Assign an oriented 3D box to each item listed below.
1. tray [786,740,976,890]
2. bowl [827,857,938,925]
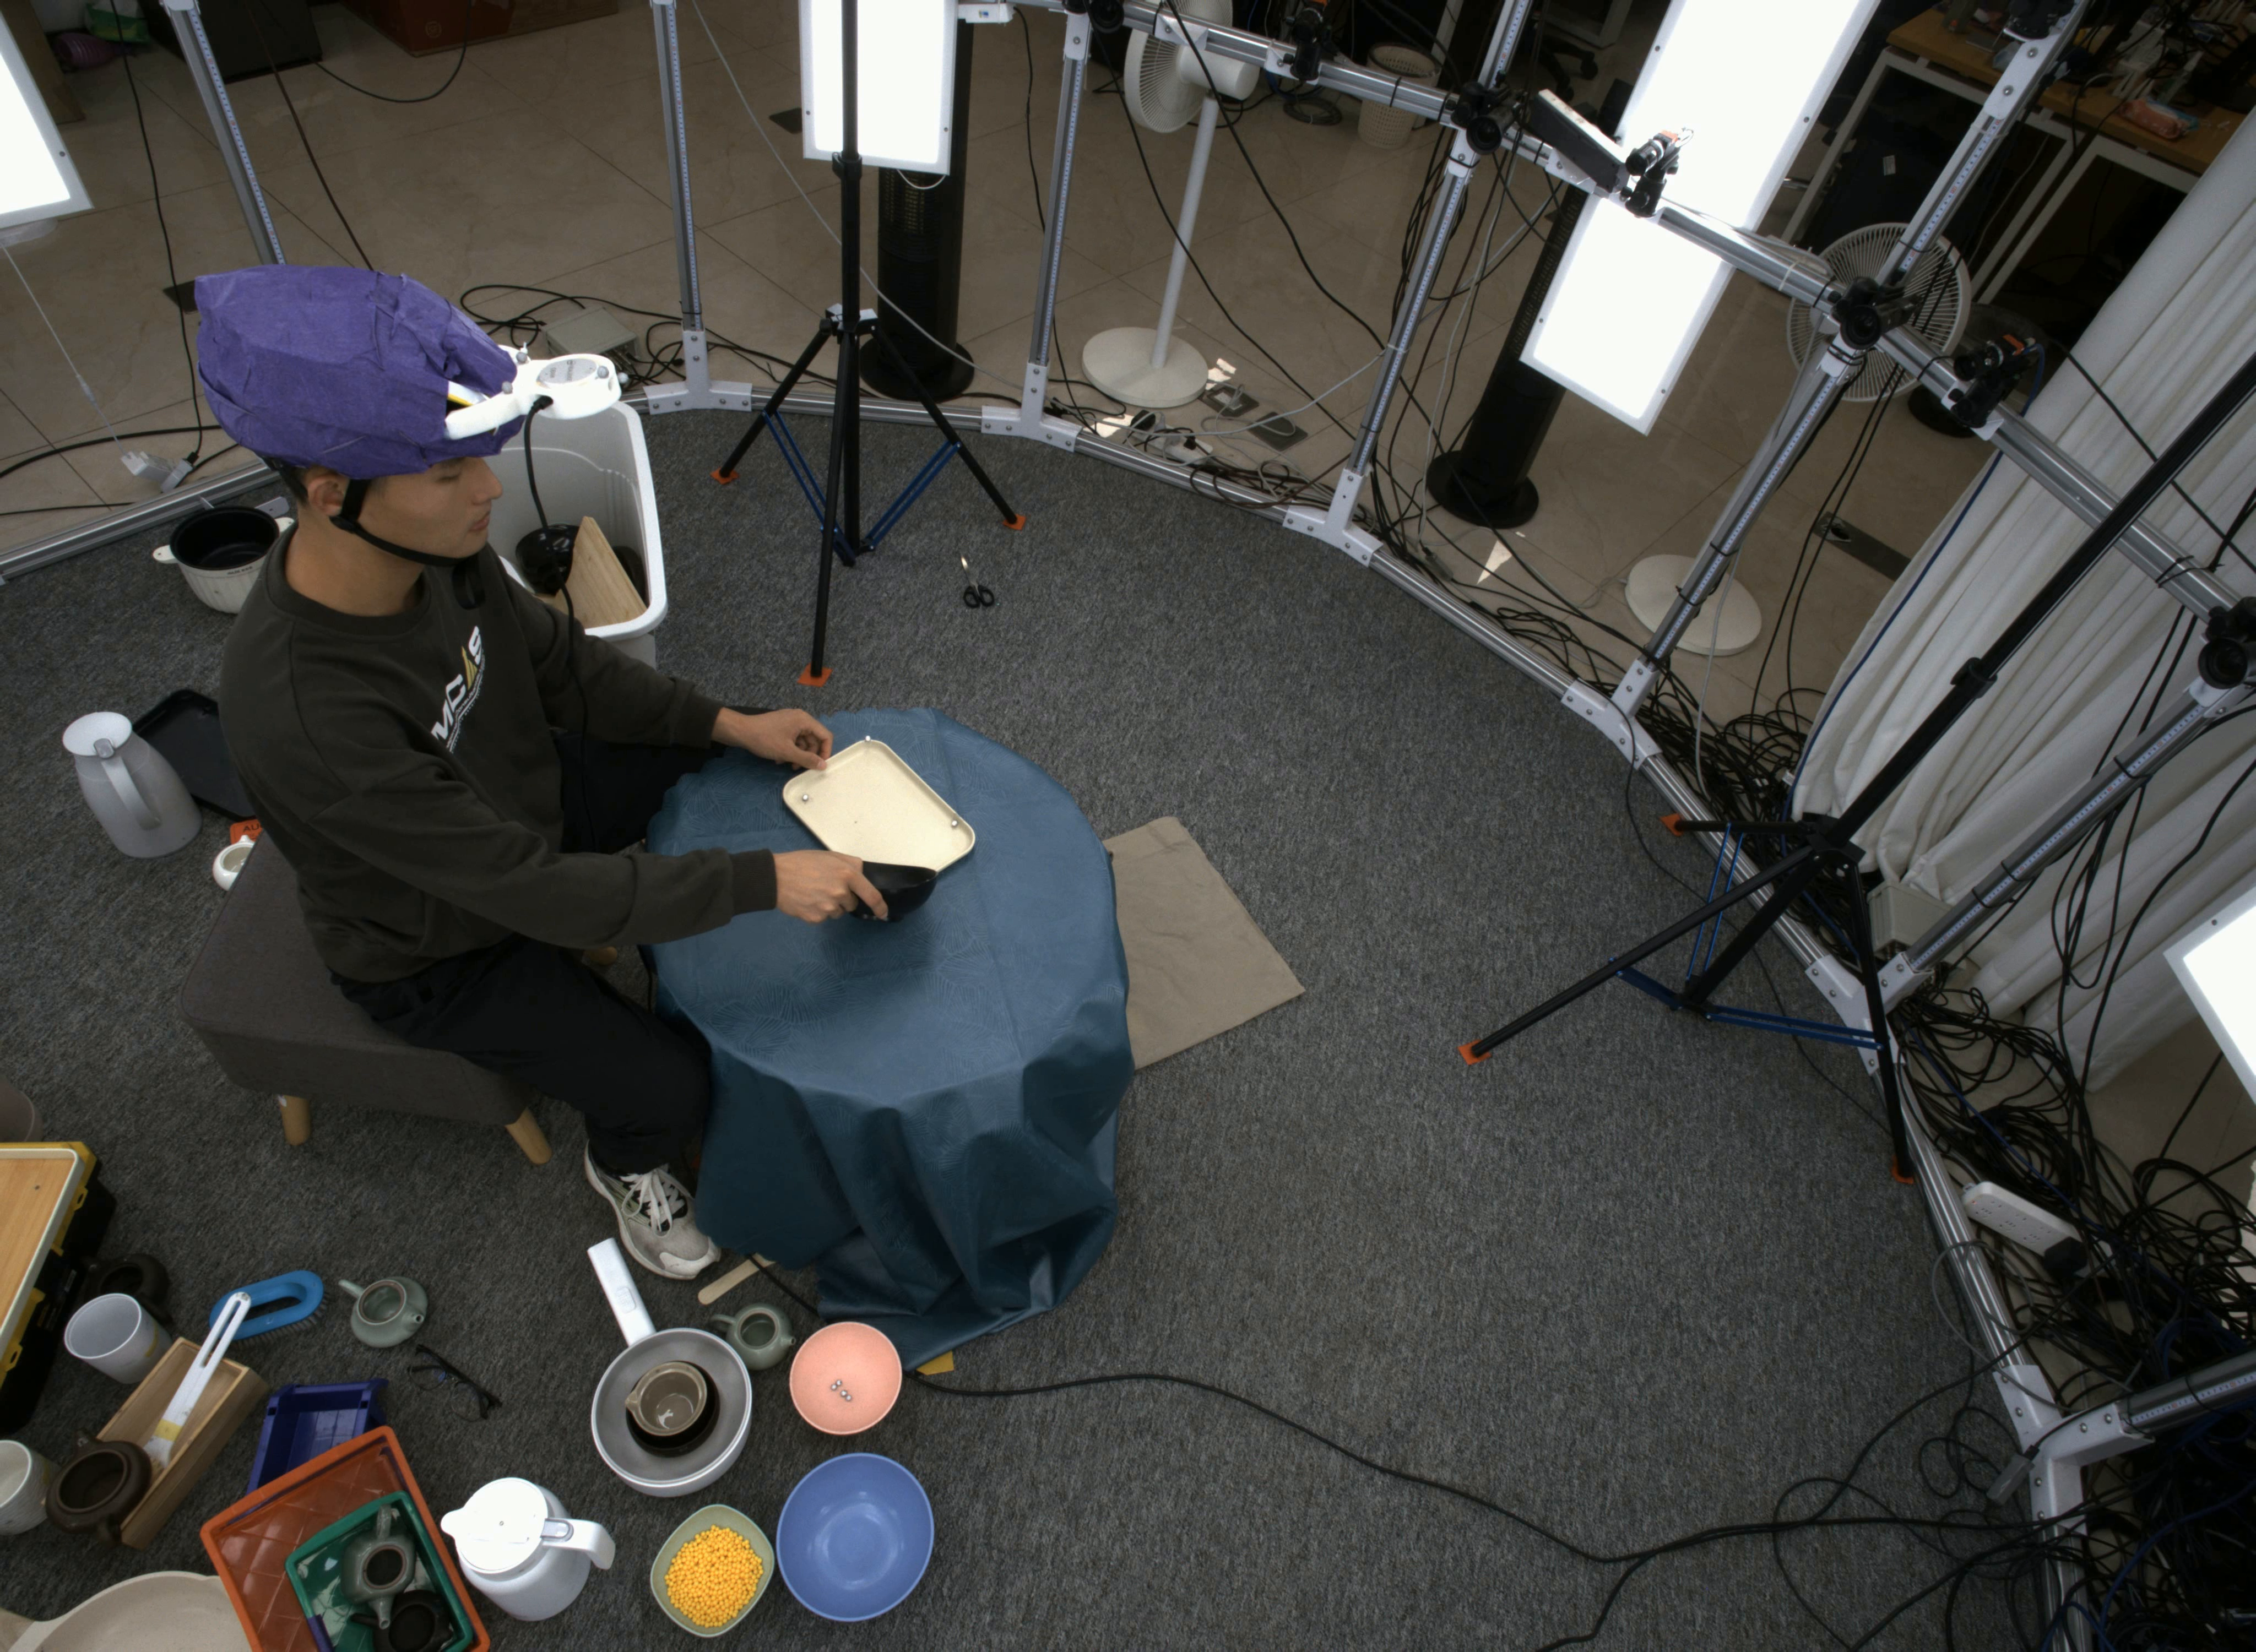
[{"bbox_3d":[-0.333,-0.011,1.754,0.234,0.018,0.171,43,57,18],"label":"tray"},{"bbox_3d":[-0.307,0.082,1.613,0.138,0.167,0.068,6,96,-14],"label":"bowl"}]
